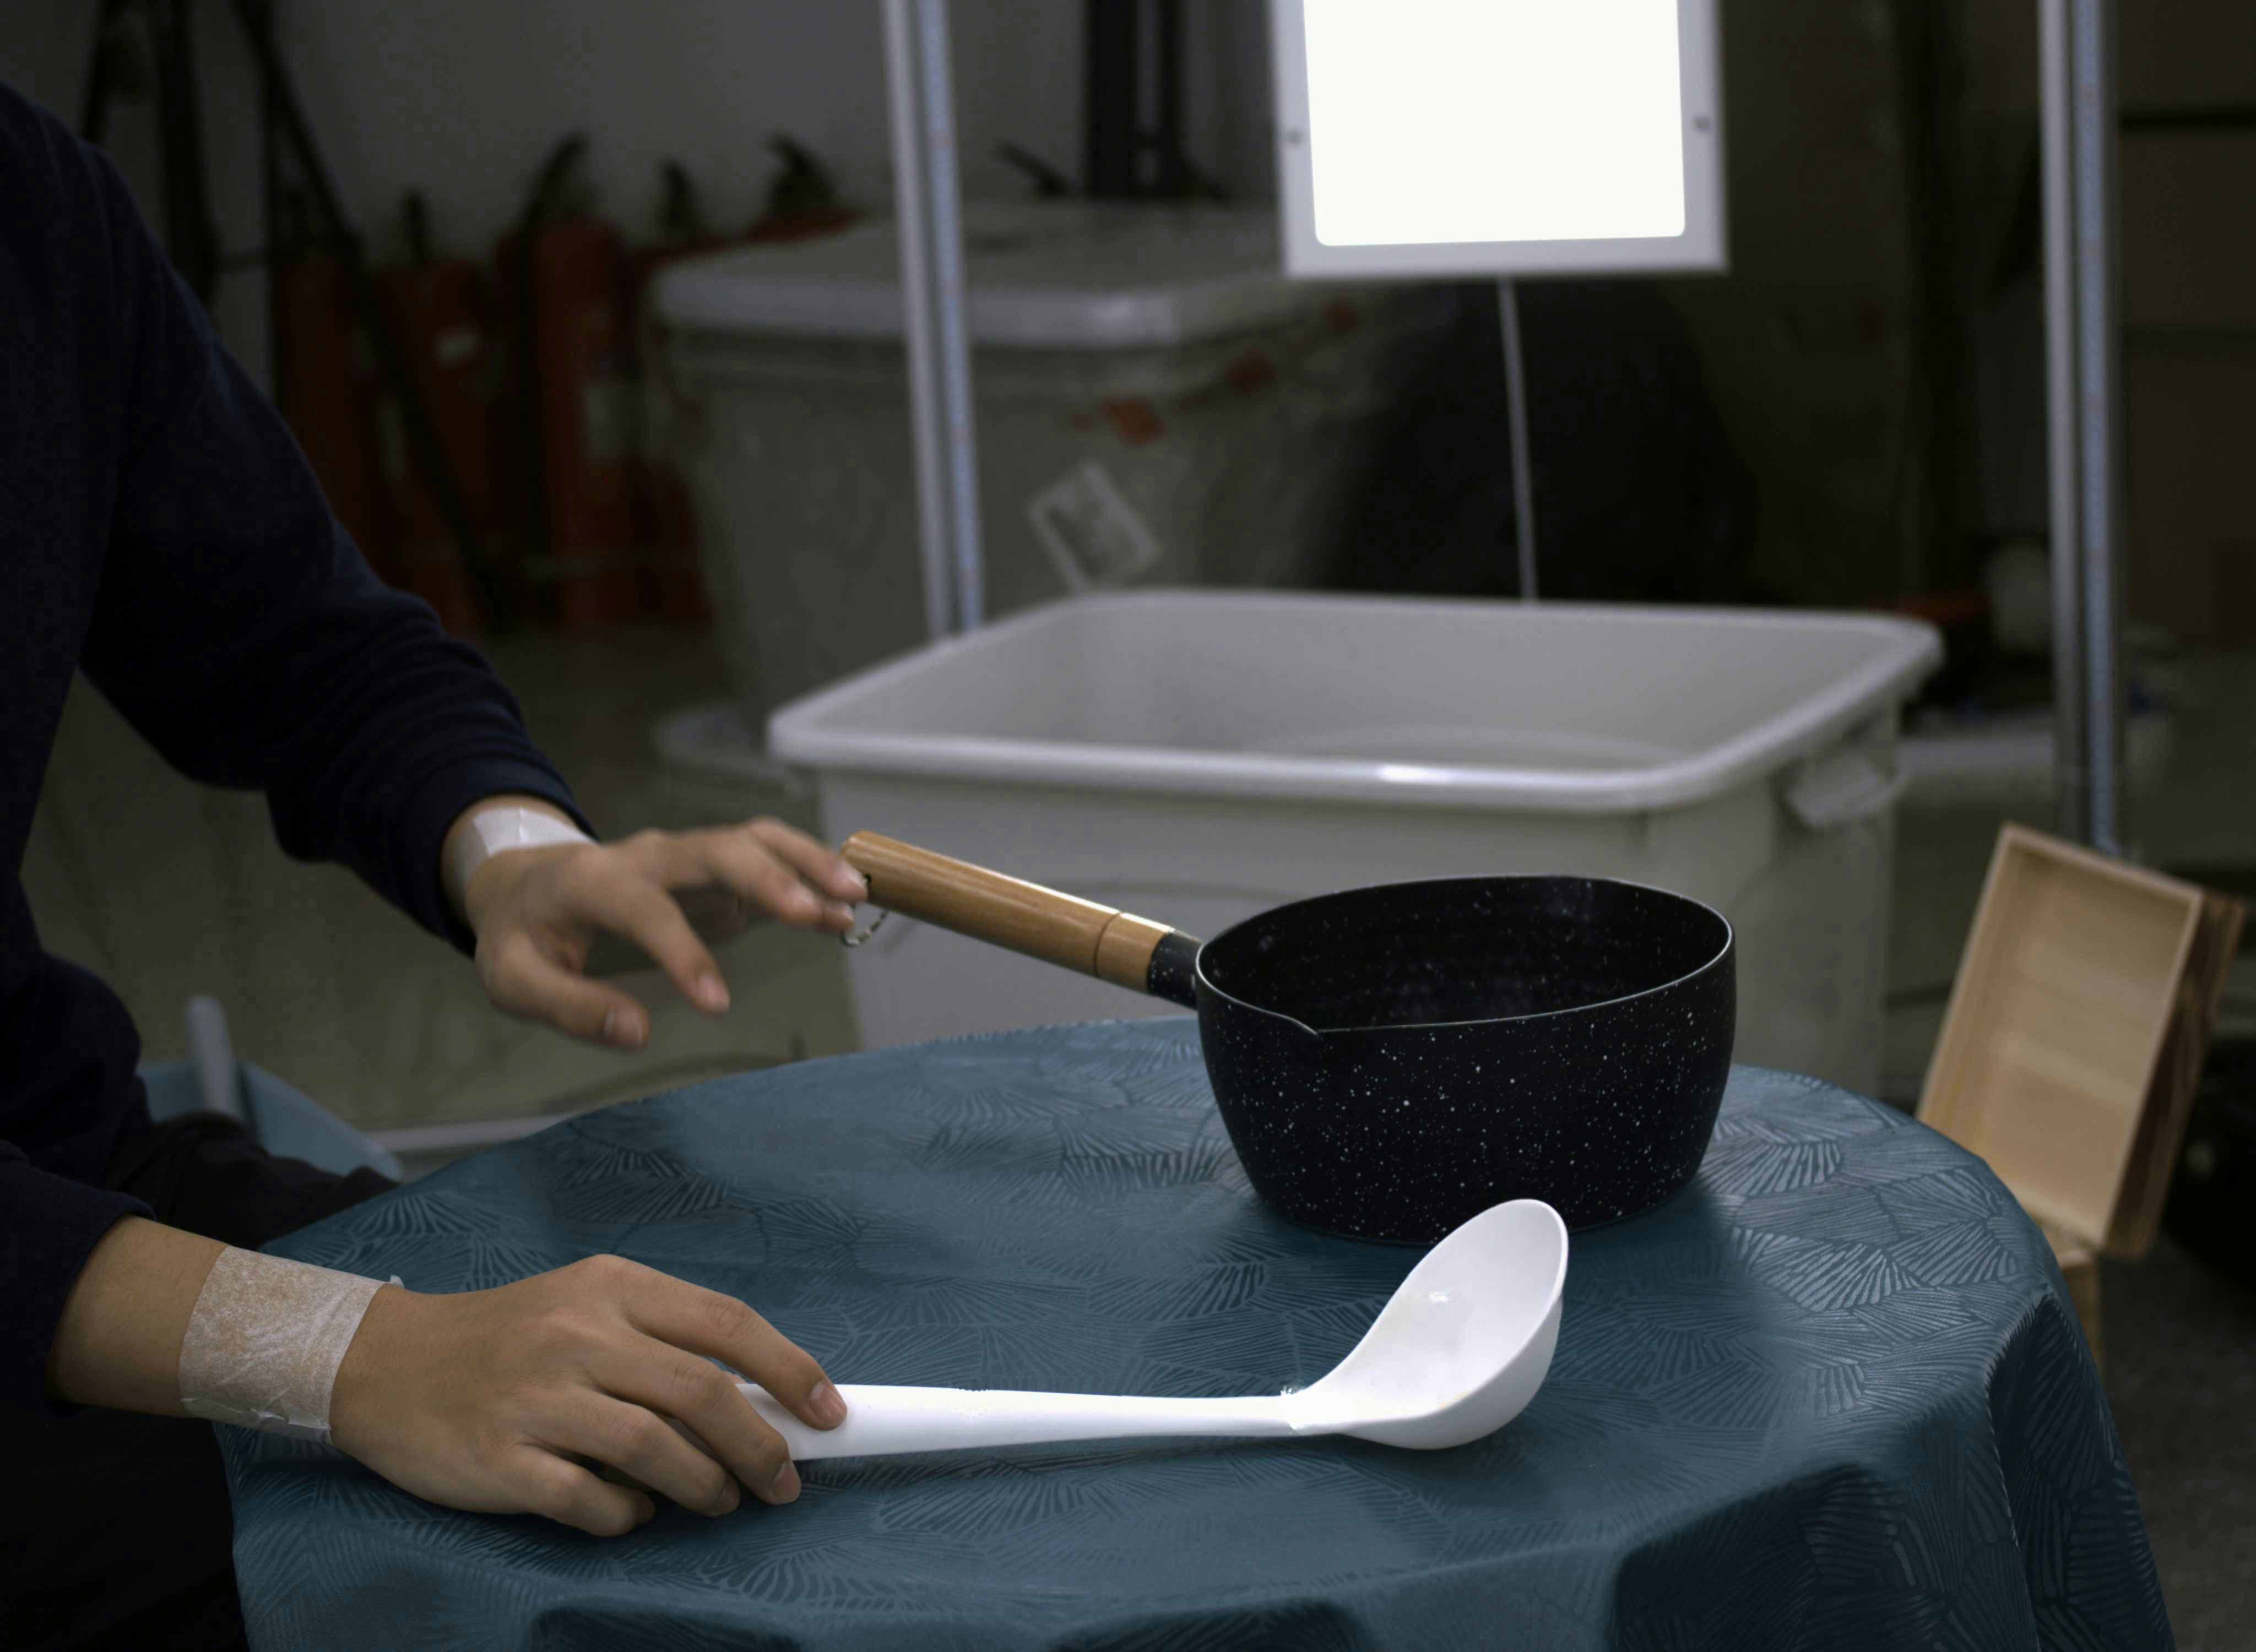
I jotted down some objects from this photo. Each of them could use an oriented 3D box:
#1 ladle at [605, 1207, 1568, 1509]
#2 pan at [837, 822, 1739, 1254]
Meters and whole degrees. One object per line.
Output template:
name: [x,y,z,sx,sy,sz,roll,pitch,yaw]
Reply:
ladle: [-0.013,0.163,1.630,0.294,0.070,0.089,-4,36,7]
pan: [0.047,0.064,1.904,0.349,0.108,0.203,5,18,30]
